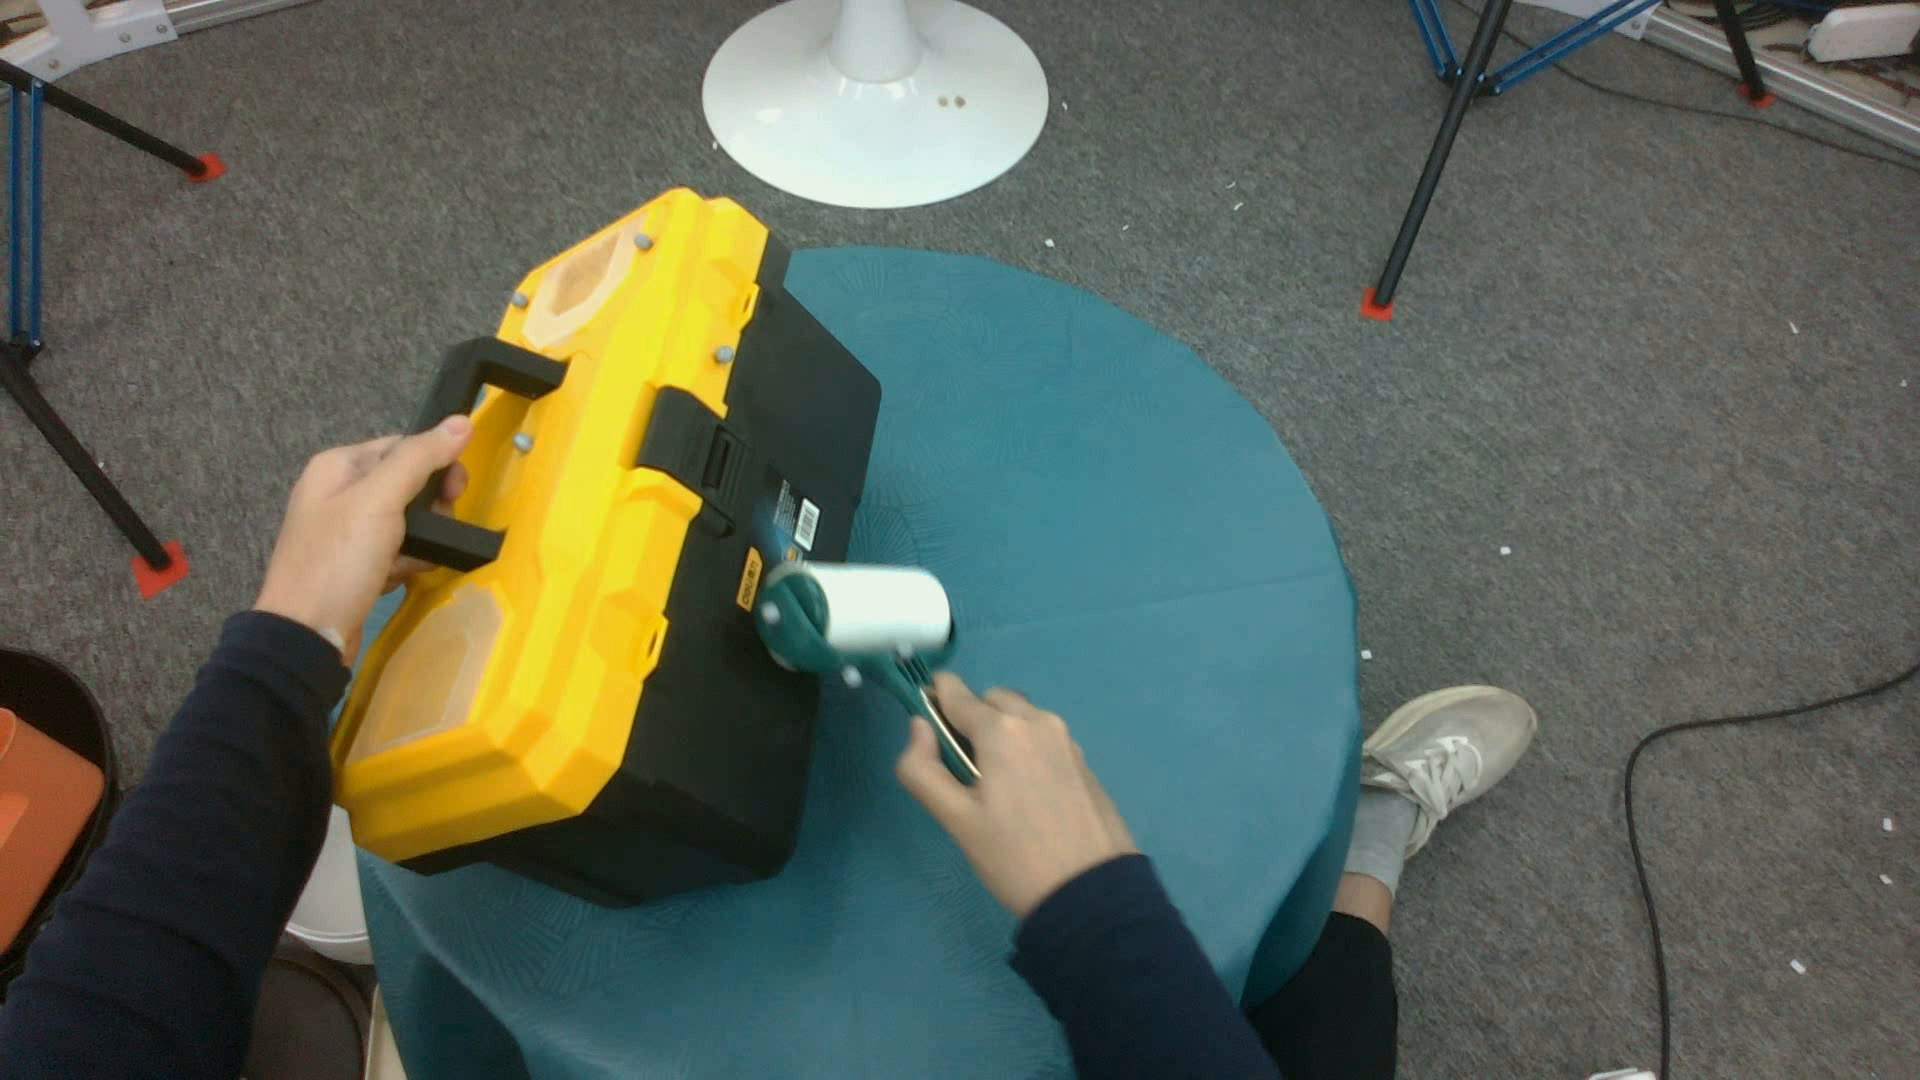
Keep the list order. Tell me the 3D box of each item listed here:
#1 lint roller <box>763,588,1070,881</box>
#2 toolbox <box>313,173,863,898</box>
[{"bbox_3d":[-0.004,0.087,0.663,0.180,0.134,0.048,38,104,28],"label":"lint roller"},{"bbox_3d":[-0.167,-0.004,0.708,0.180,0.172,0.353,-19,48,32],"label":"toolbox"}]
